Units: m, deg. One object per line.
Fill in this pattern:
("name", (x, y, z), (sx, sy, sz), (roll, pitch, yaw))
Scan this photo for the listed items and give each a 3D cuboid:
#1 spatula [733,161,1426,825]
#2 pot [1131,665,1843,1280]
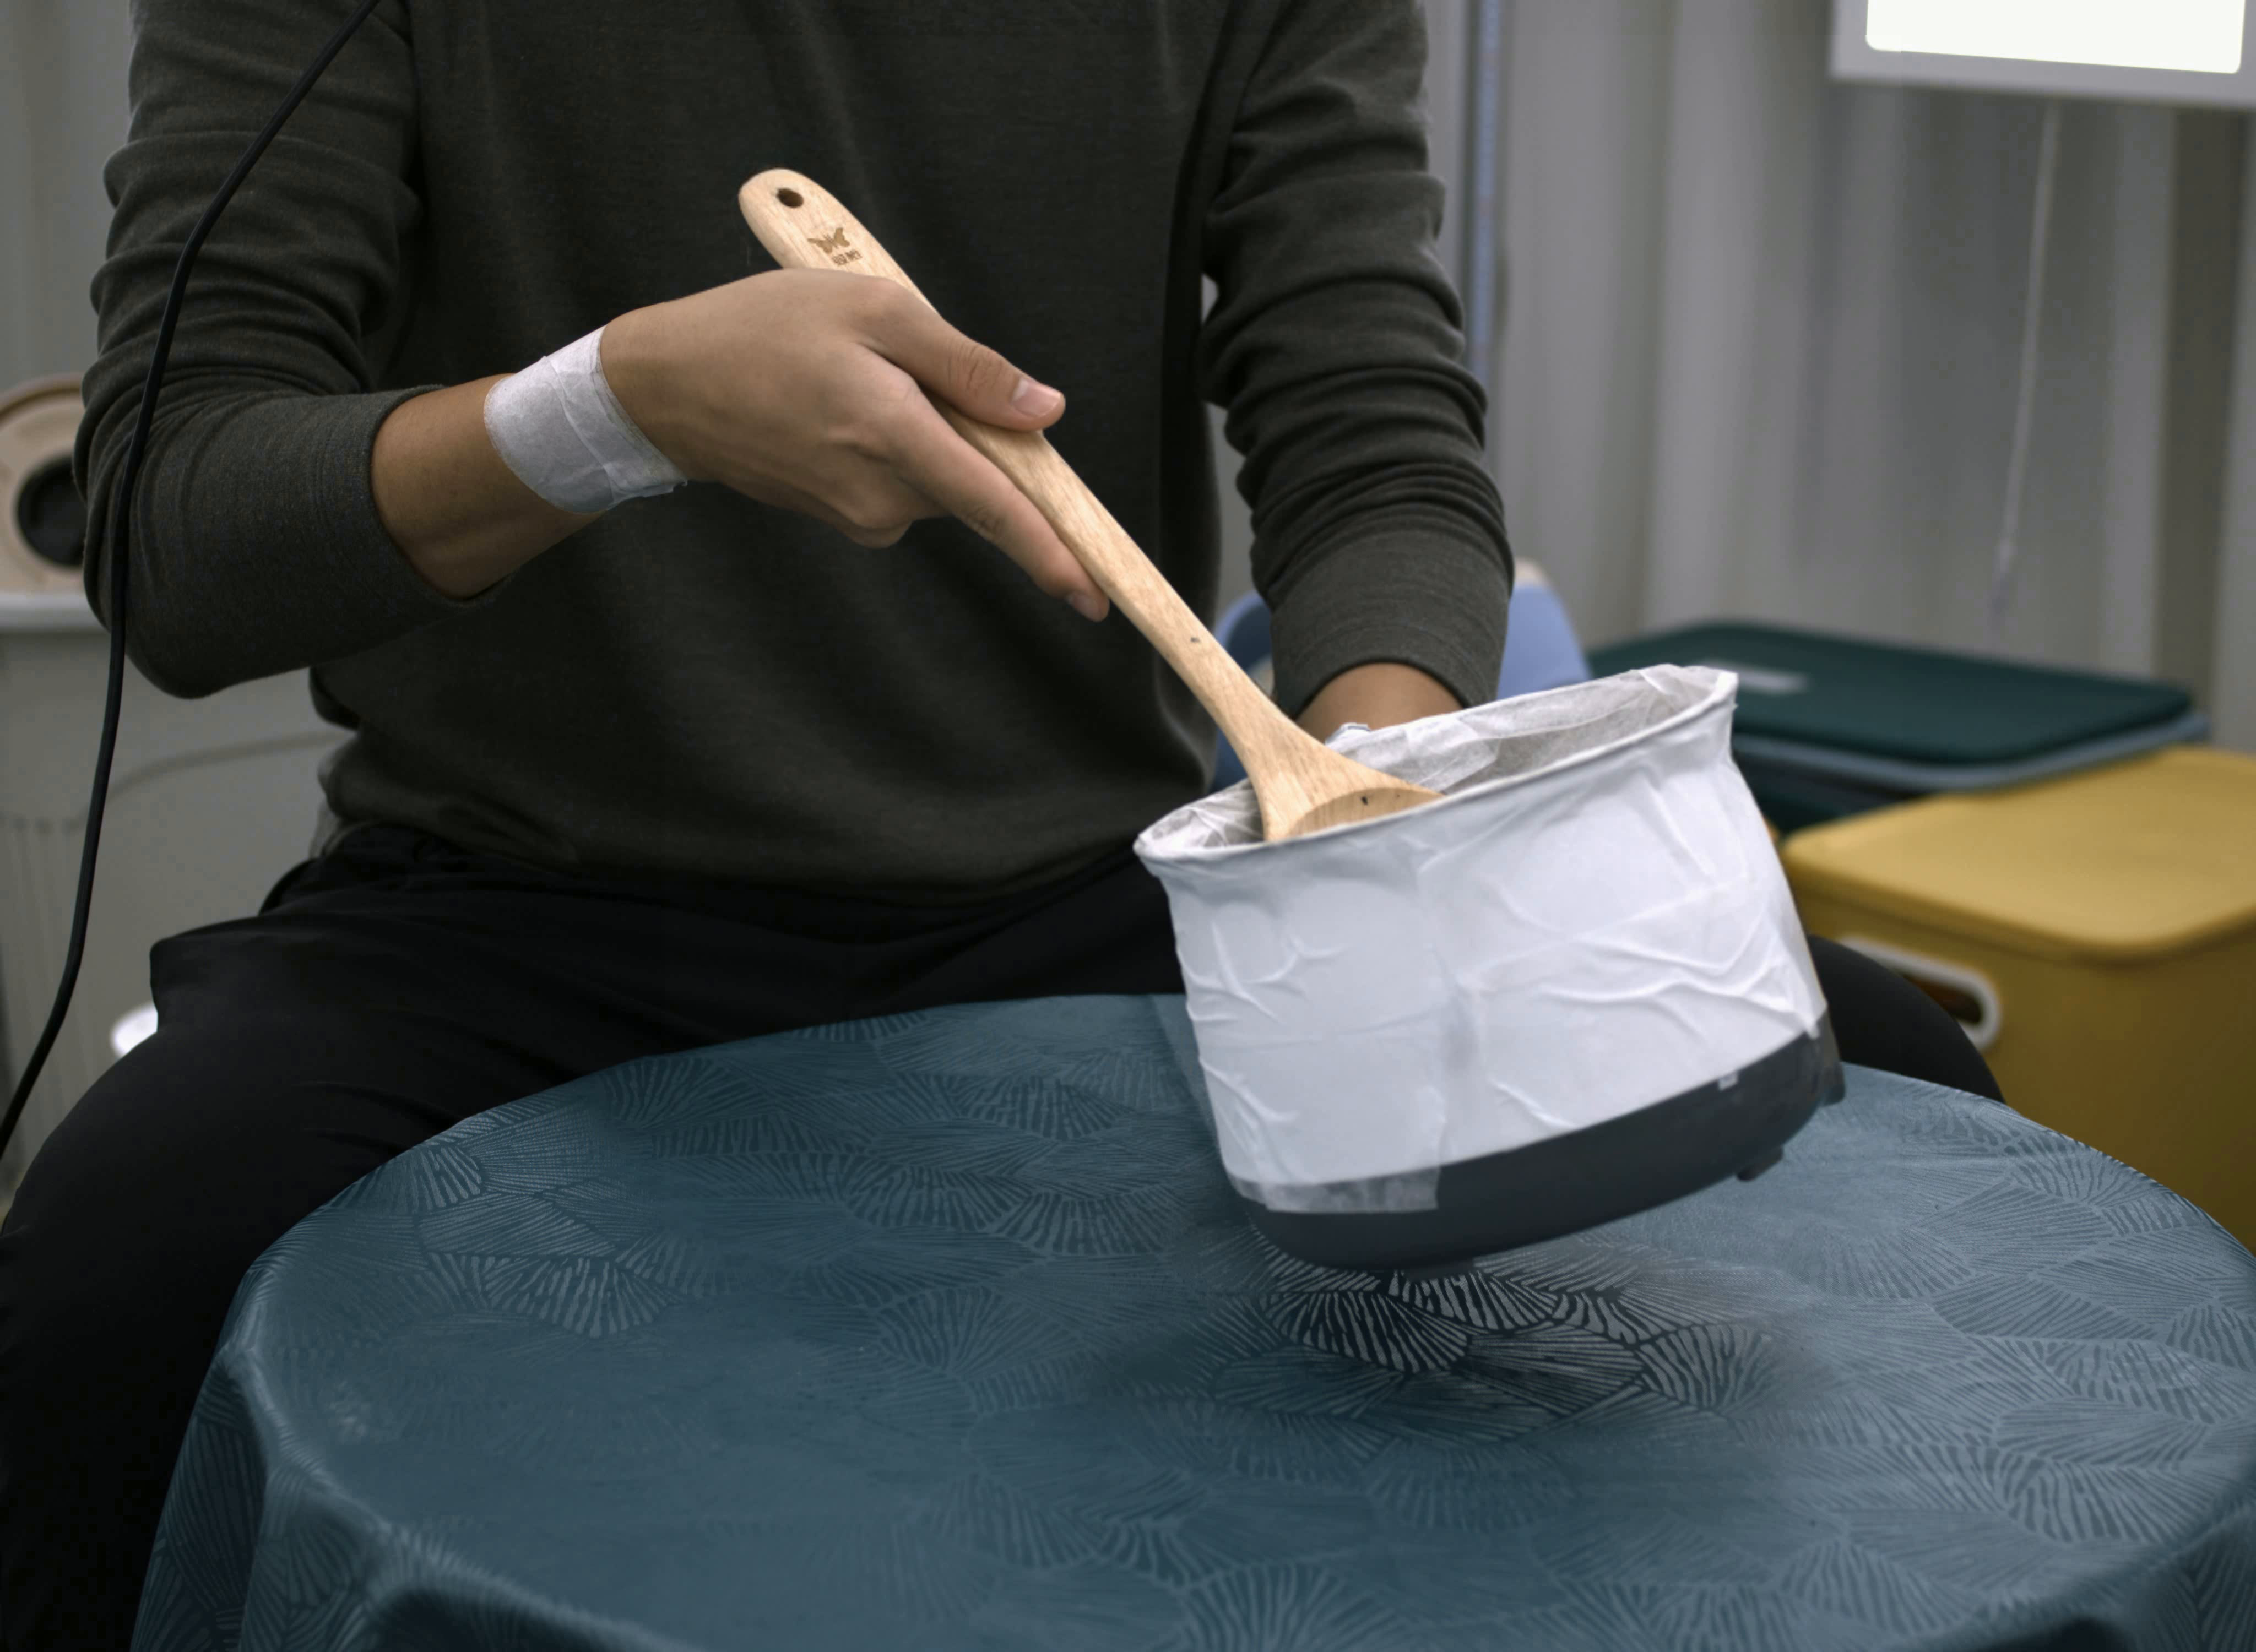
("spatula", (-0.007, -0.075, 1.571), (0.096, 0.018, 0.387), (-24, 61, -34))
("pot", (0.096, 0.039, 1.513), (0.178, 0.137, 0.232), (-17, 8, -11))
